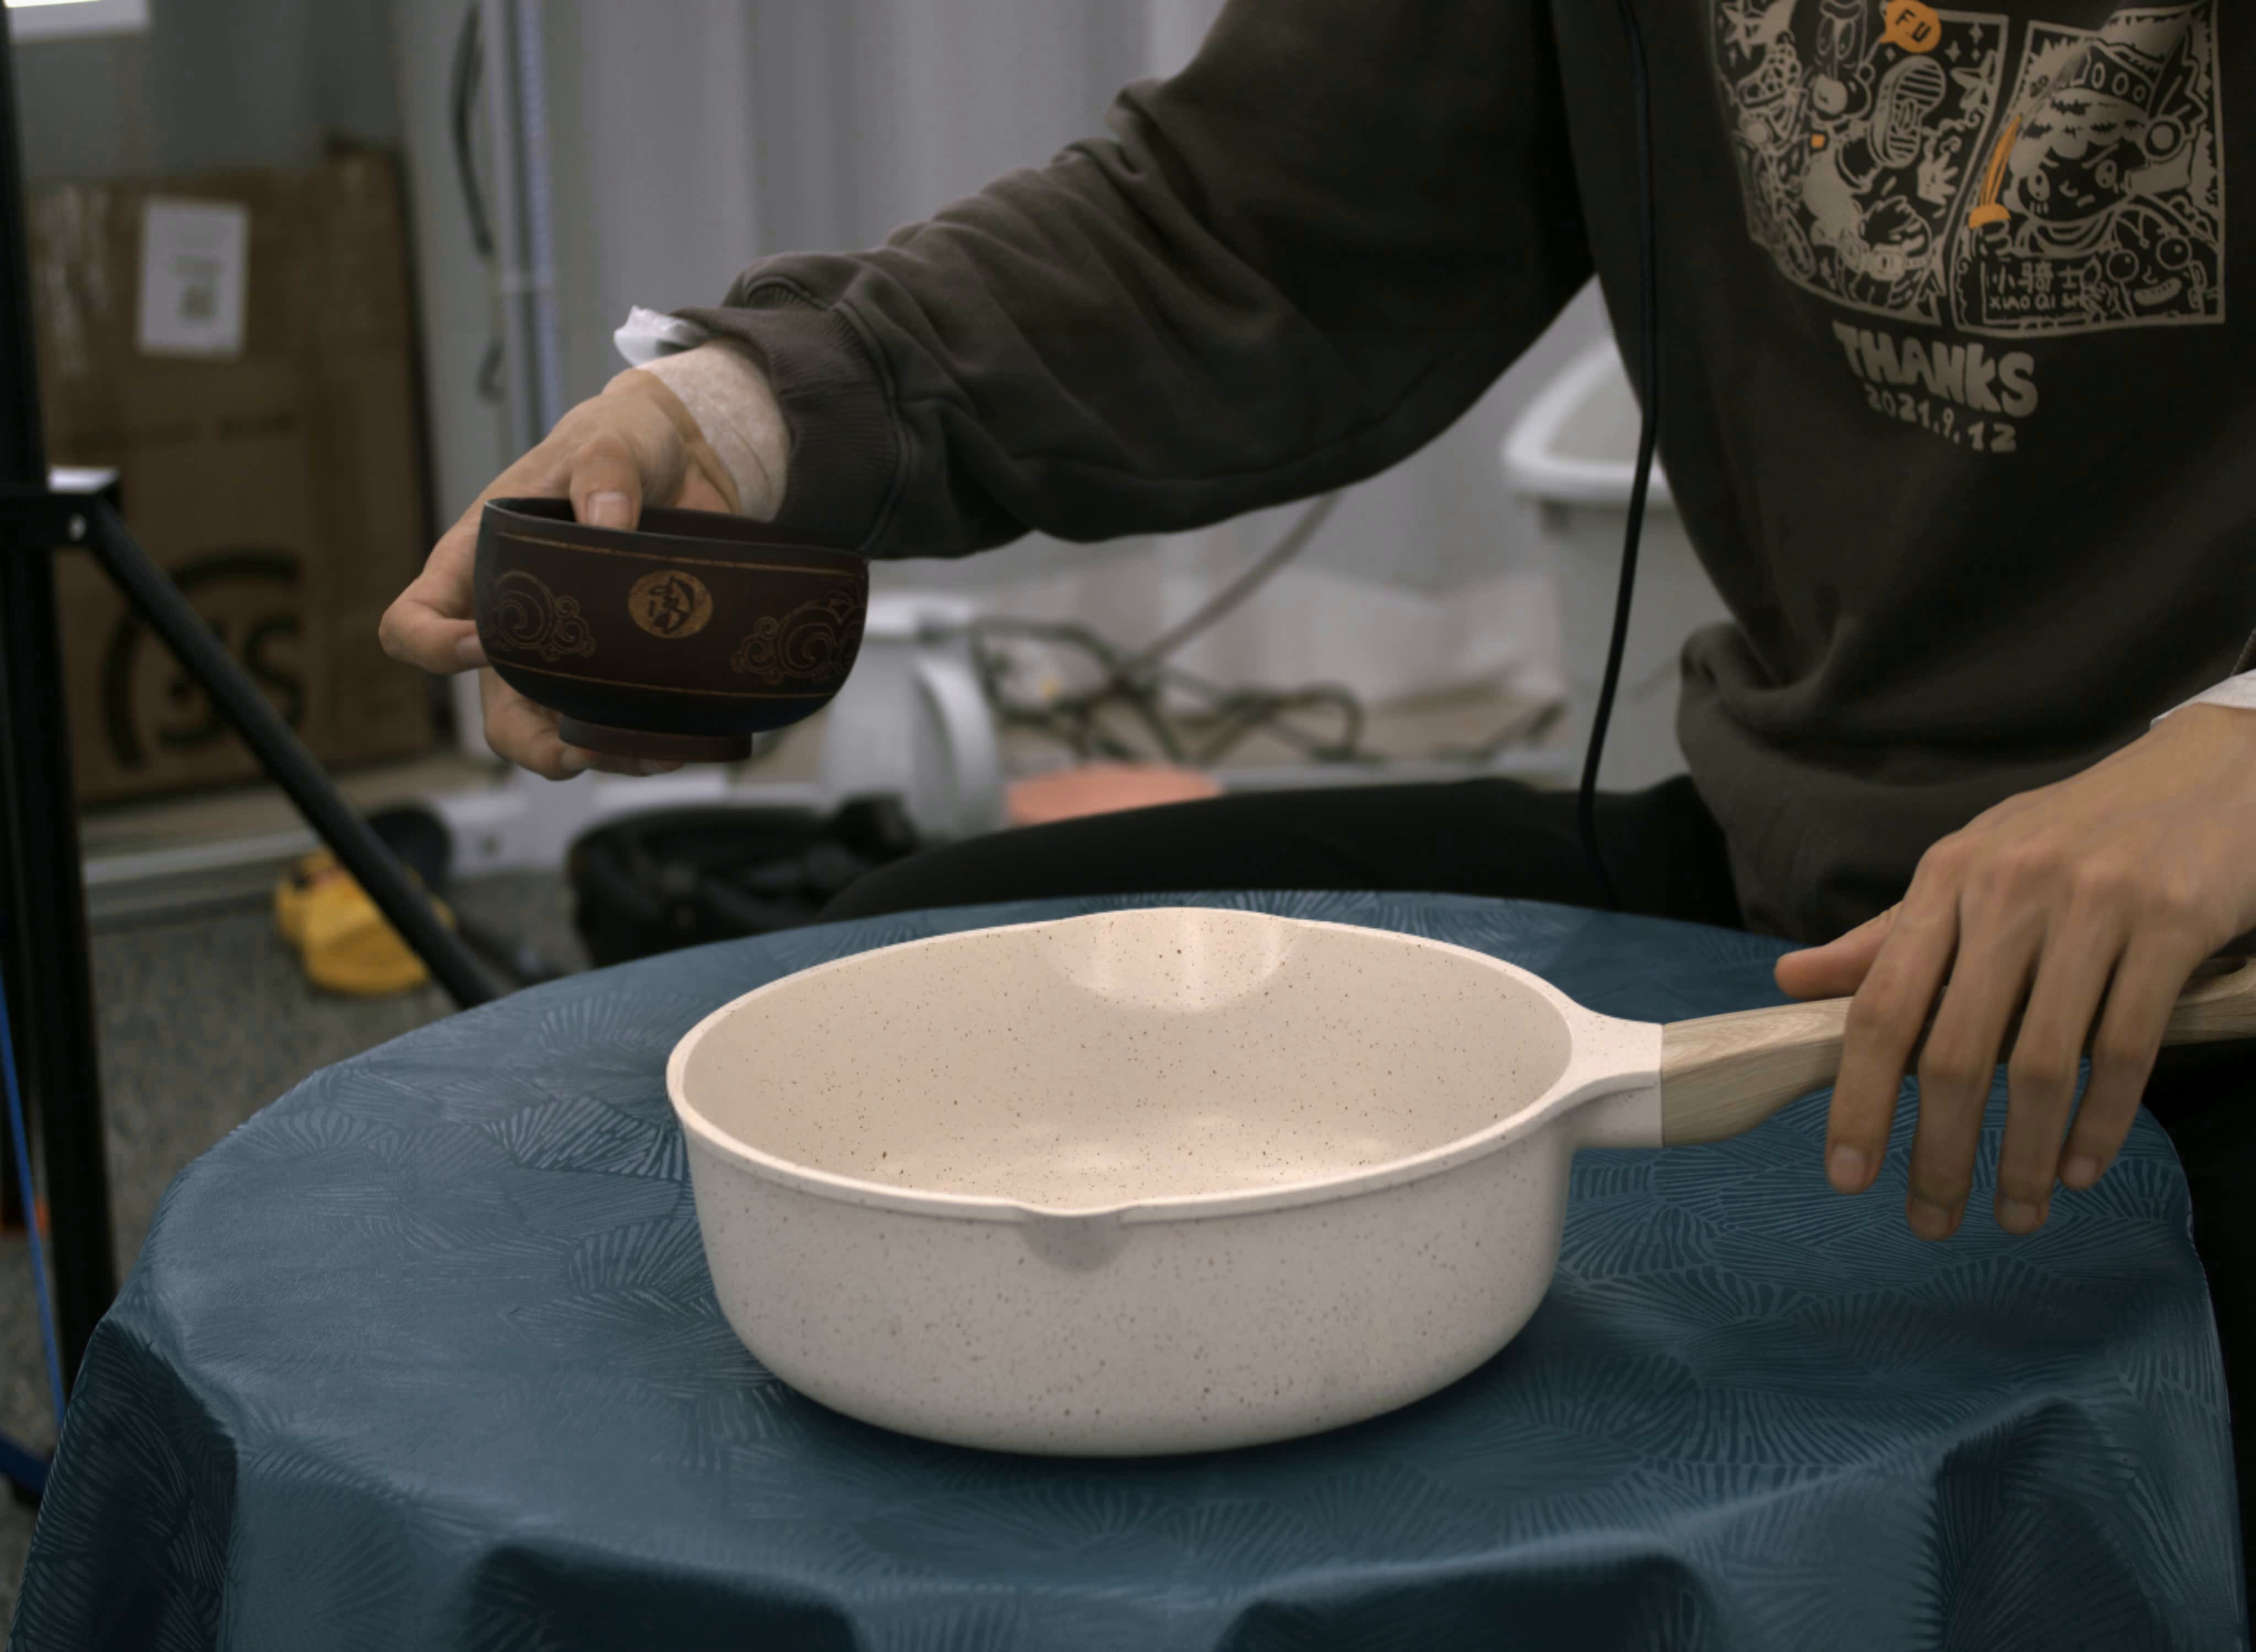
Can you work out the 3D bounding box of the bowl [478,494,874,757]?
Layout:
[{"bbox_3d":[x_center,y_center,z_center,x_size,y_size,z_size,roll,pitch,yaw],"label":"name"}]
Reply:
[{"bbox_3d":[-0.136,-0.059,1.593,0.117,0.070,0.118,6,5,-2],"label":"bowl"}]

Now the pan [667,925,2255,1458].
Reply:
[{"bbox_3d":[0.093,0.092,1.423,0.435,0.102,0.263,0,14,8],"label":"pan"}]
